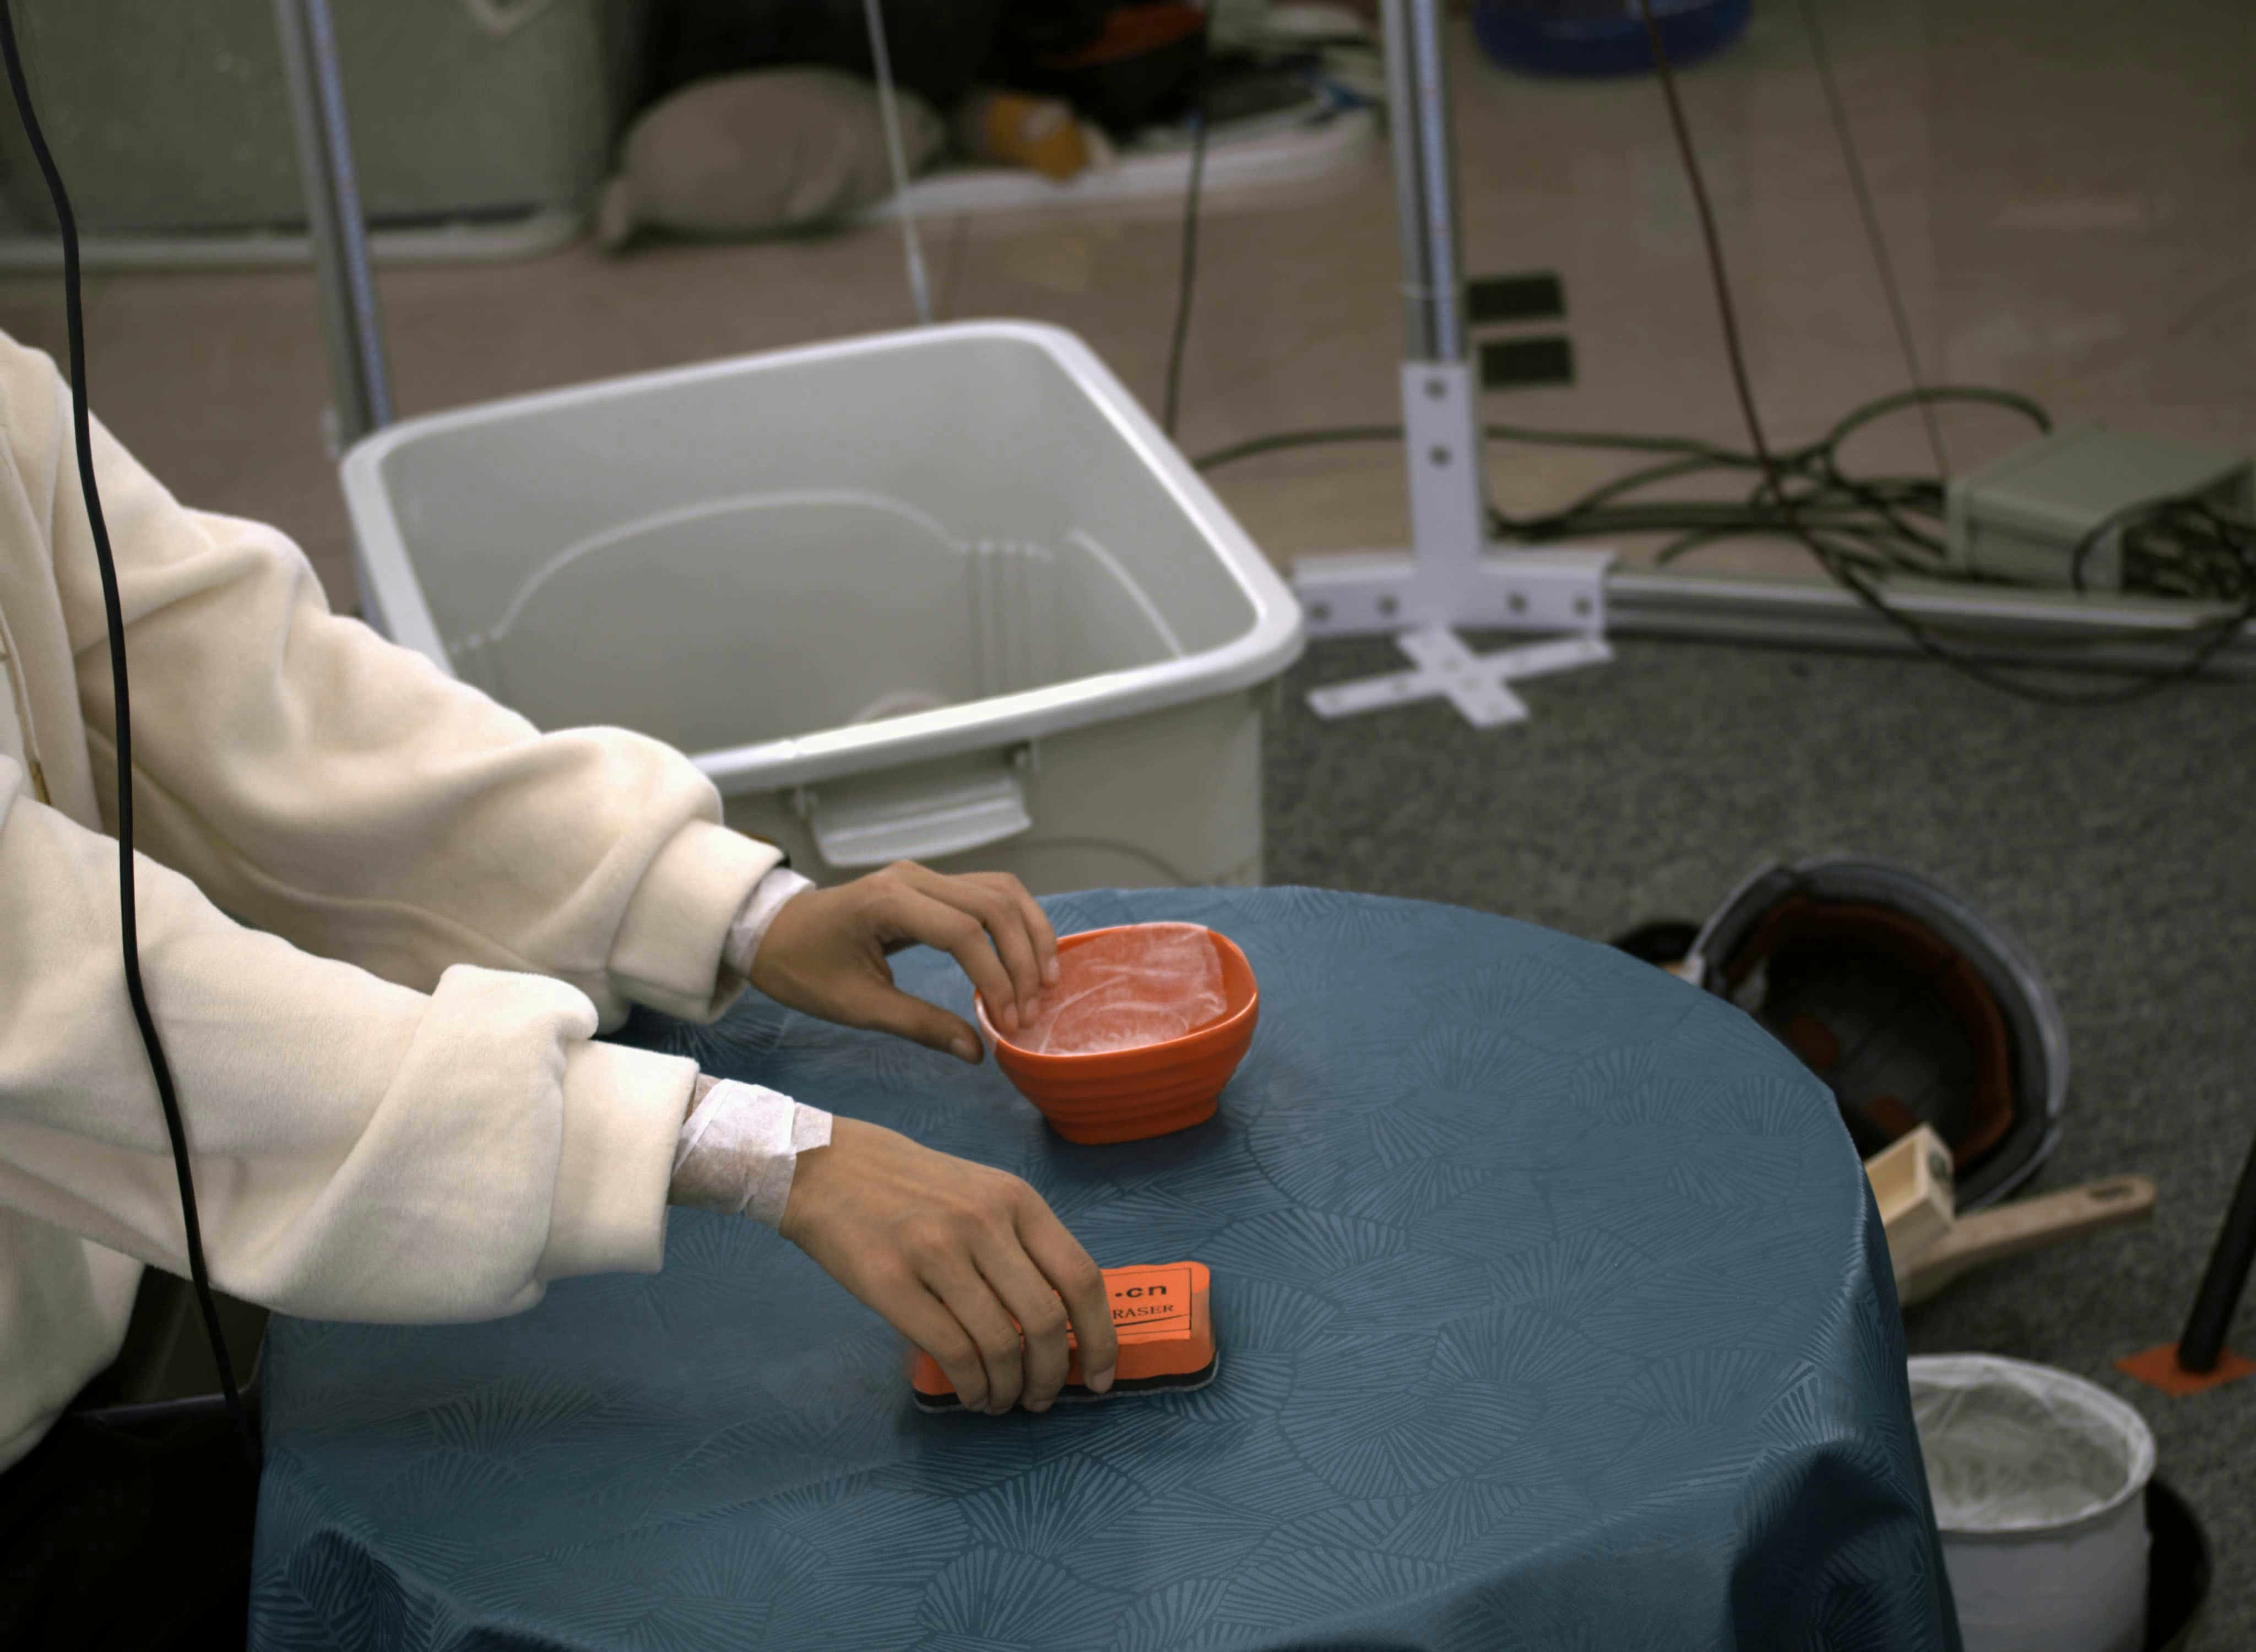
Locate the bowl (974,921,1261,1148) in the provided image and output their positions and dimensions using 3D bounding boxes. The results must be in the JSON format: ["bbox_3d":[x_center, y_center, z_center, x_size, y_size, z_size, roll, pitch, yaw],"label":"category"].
[{"bbox_3d":[-0.002,0.086,2.203,0.119,0.052,0.117,-6,26,3],"label":"bowl"}]

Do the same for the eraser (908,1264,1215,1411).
[{"bbox_3d":[-0.023,0.183,2.032,0.108,0.023,0.058,-5,27,4],"label":"eraser"}]
